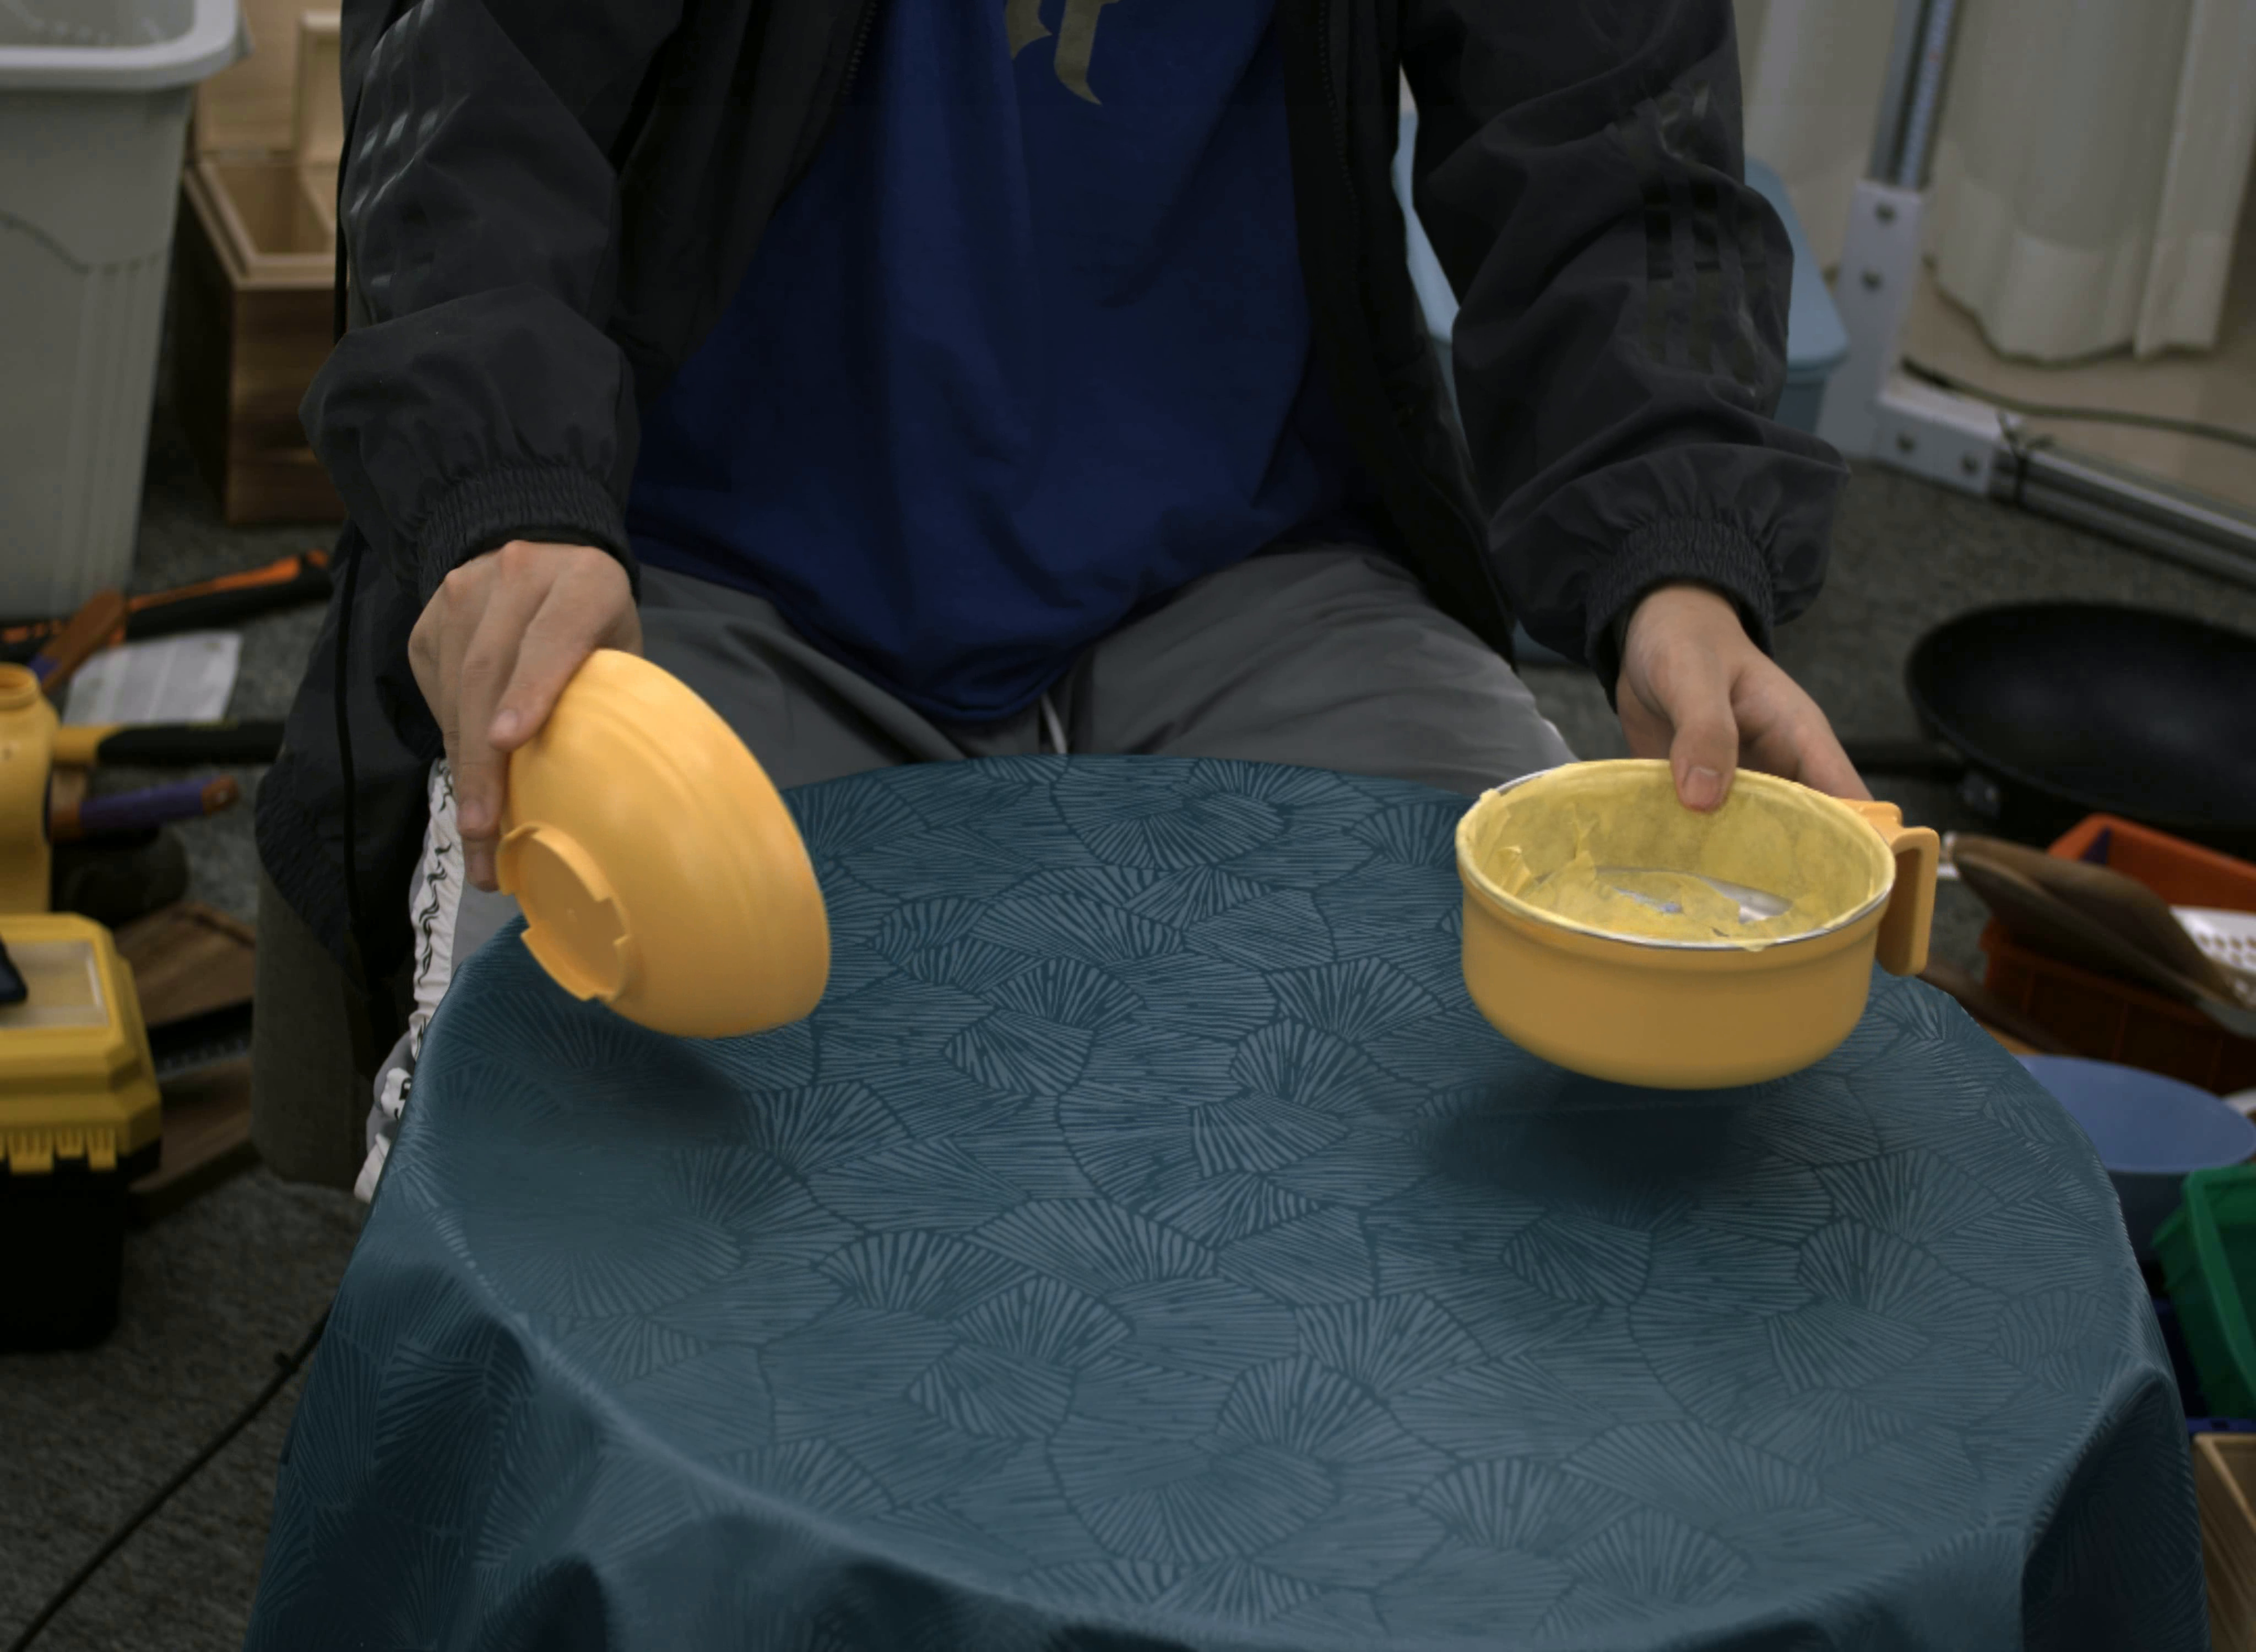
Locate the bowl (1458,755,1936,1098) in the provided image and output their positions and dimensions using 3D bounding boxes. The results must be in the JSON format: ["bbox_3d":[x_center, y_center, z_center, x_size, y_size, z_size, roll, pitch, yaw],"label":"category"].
[{"bbox_3d":[0.201,0.036,1.854,0.178,0.074,0.154,-13,28,-28],"label":"bowl"}]

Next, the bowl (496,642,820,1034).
[{"bbox_3d":[-0.170,0.015,1.796,0.060,0.144,0.146,-32,43,-28],"label":"bowl"}]
